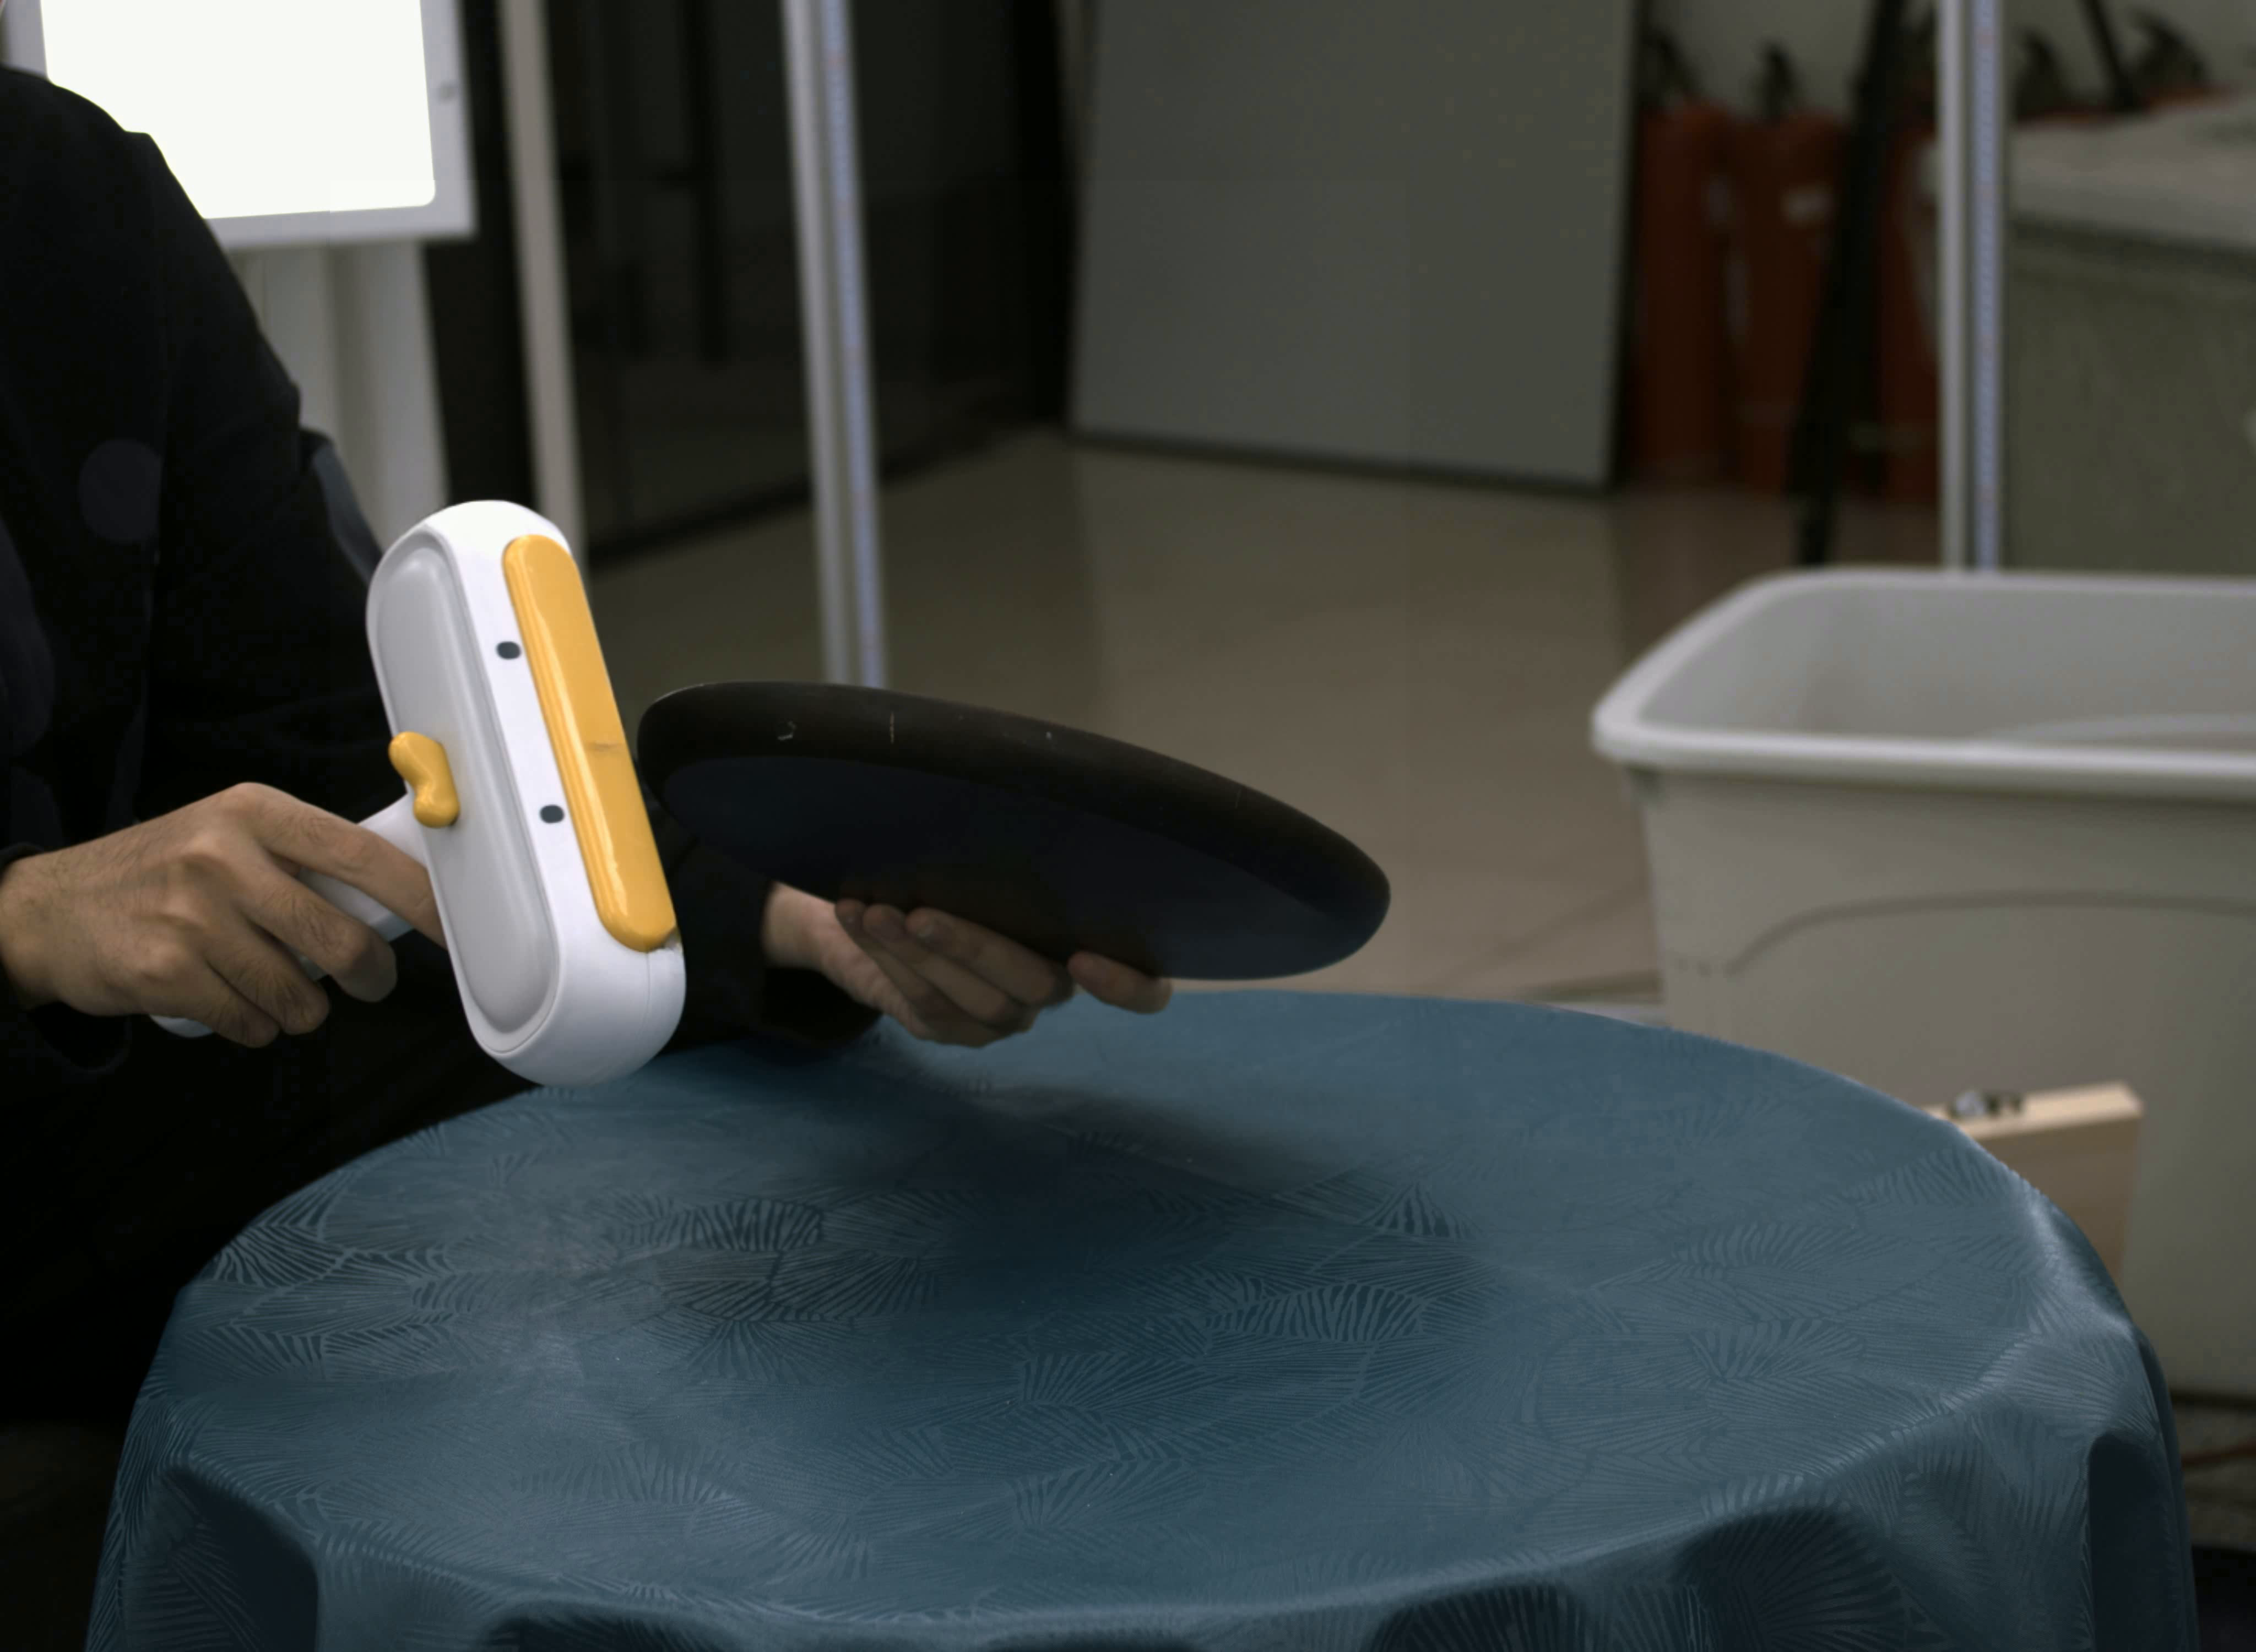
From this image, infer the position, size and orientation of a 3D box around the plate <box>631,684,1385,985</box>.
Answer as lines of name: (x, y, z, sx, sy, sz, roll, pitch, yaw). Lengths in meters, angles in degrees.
plate: (-0.040, 0.005, 1.749, 0.252, 0.029, 0.255, 12, -15, 2)

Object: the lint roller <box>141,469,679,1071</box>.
lint roller: (-0.231, 0.012, 1.684, 0.072, 0.195, 0.194, 4, -36, -48)
